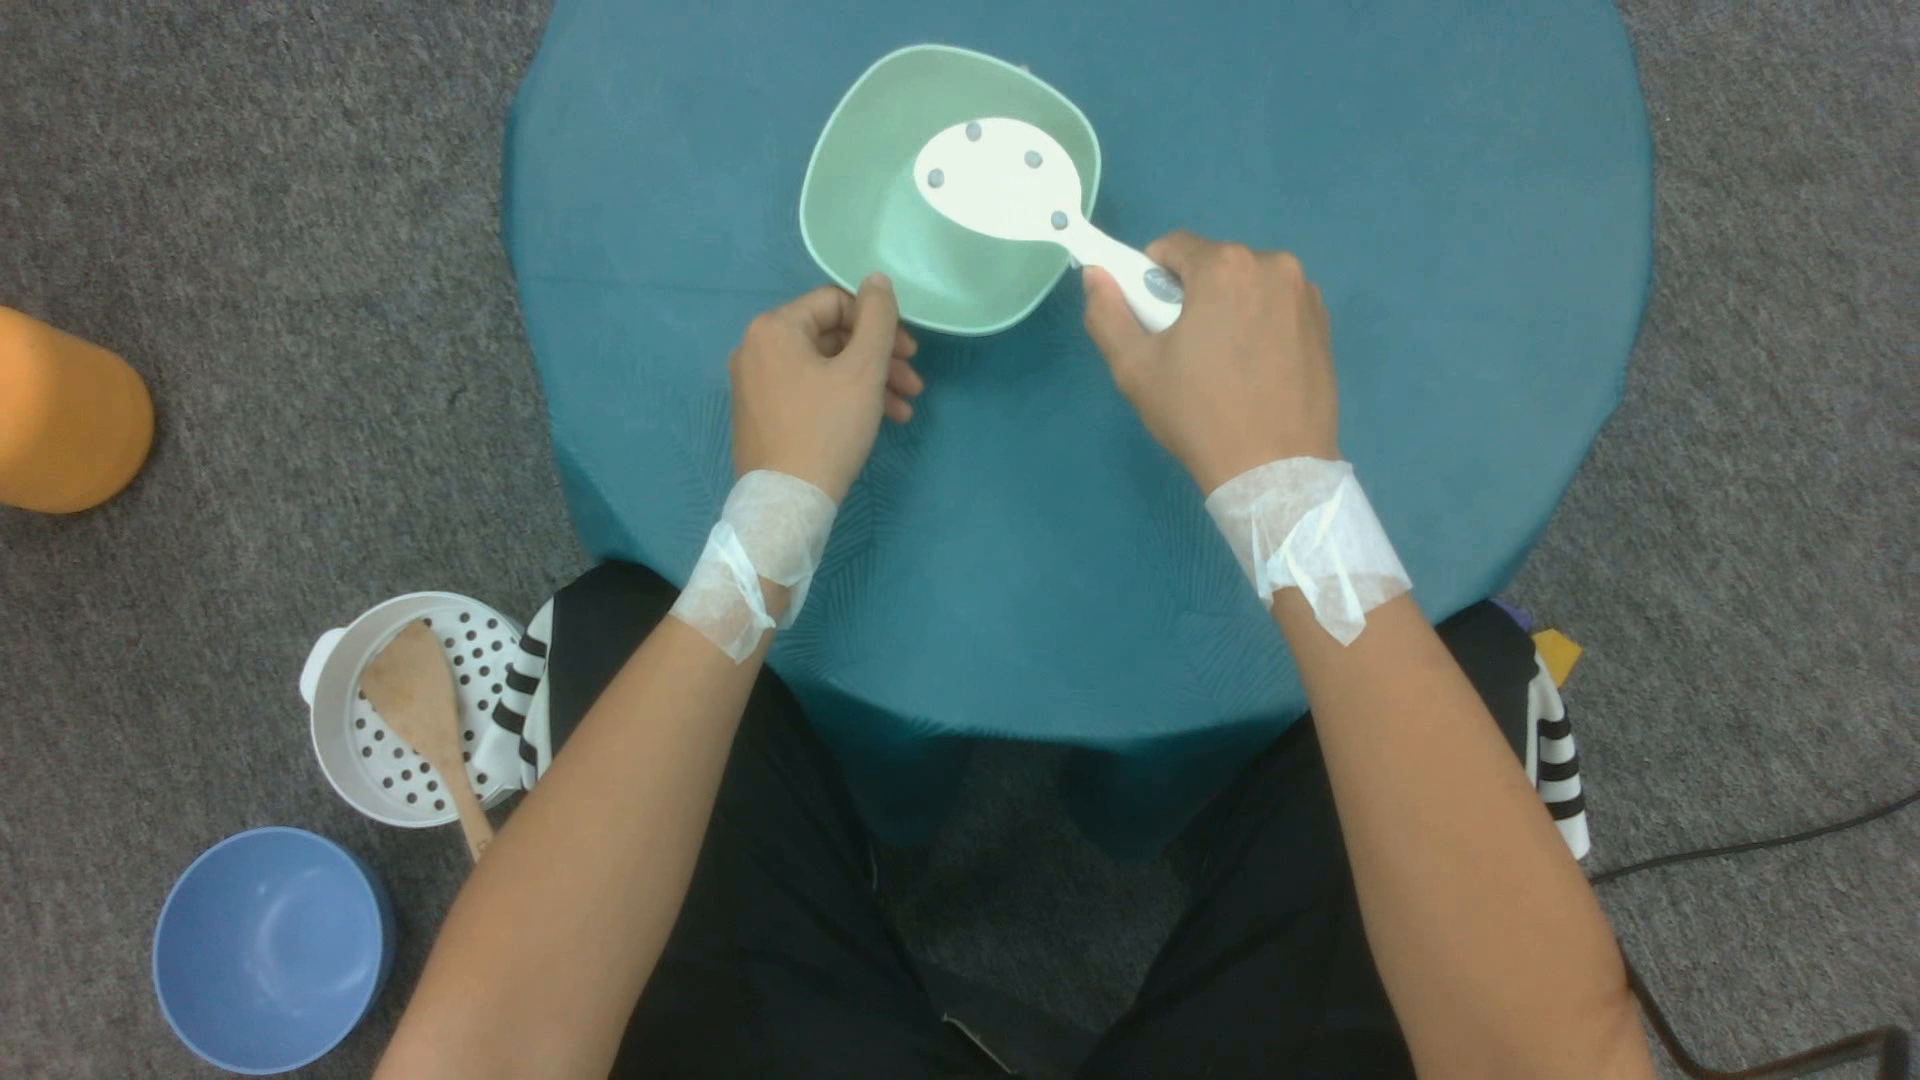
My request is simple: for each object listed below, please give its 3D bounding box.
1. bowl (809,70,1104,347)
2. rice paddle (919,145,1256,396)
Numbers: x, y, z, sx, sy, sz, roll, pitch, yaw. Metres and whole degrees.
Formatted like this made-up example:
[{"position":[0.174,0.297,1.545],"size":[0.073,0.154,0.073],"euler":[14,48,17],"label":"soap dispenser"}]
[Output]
[{"position":[-0.001,-0.162,0.712],"size":[0.151,0.058,0.151],"euler":[0,78,2],"label":"bowl"},{"position":[0.054,-0.135,0.646],"size":[0.069,0.029,0.205],"euler":[-36,57,-16],"label":"rice paddle"}]
